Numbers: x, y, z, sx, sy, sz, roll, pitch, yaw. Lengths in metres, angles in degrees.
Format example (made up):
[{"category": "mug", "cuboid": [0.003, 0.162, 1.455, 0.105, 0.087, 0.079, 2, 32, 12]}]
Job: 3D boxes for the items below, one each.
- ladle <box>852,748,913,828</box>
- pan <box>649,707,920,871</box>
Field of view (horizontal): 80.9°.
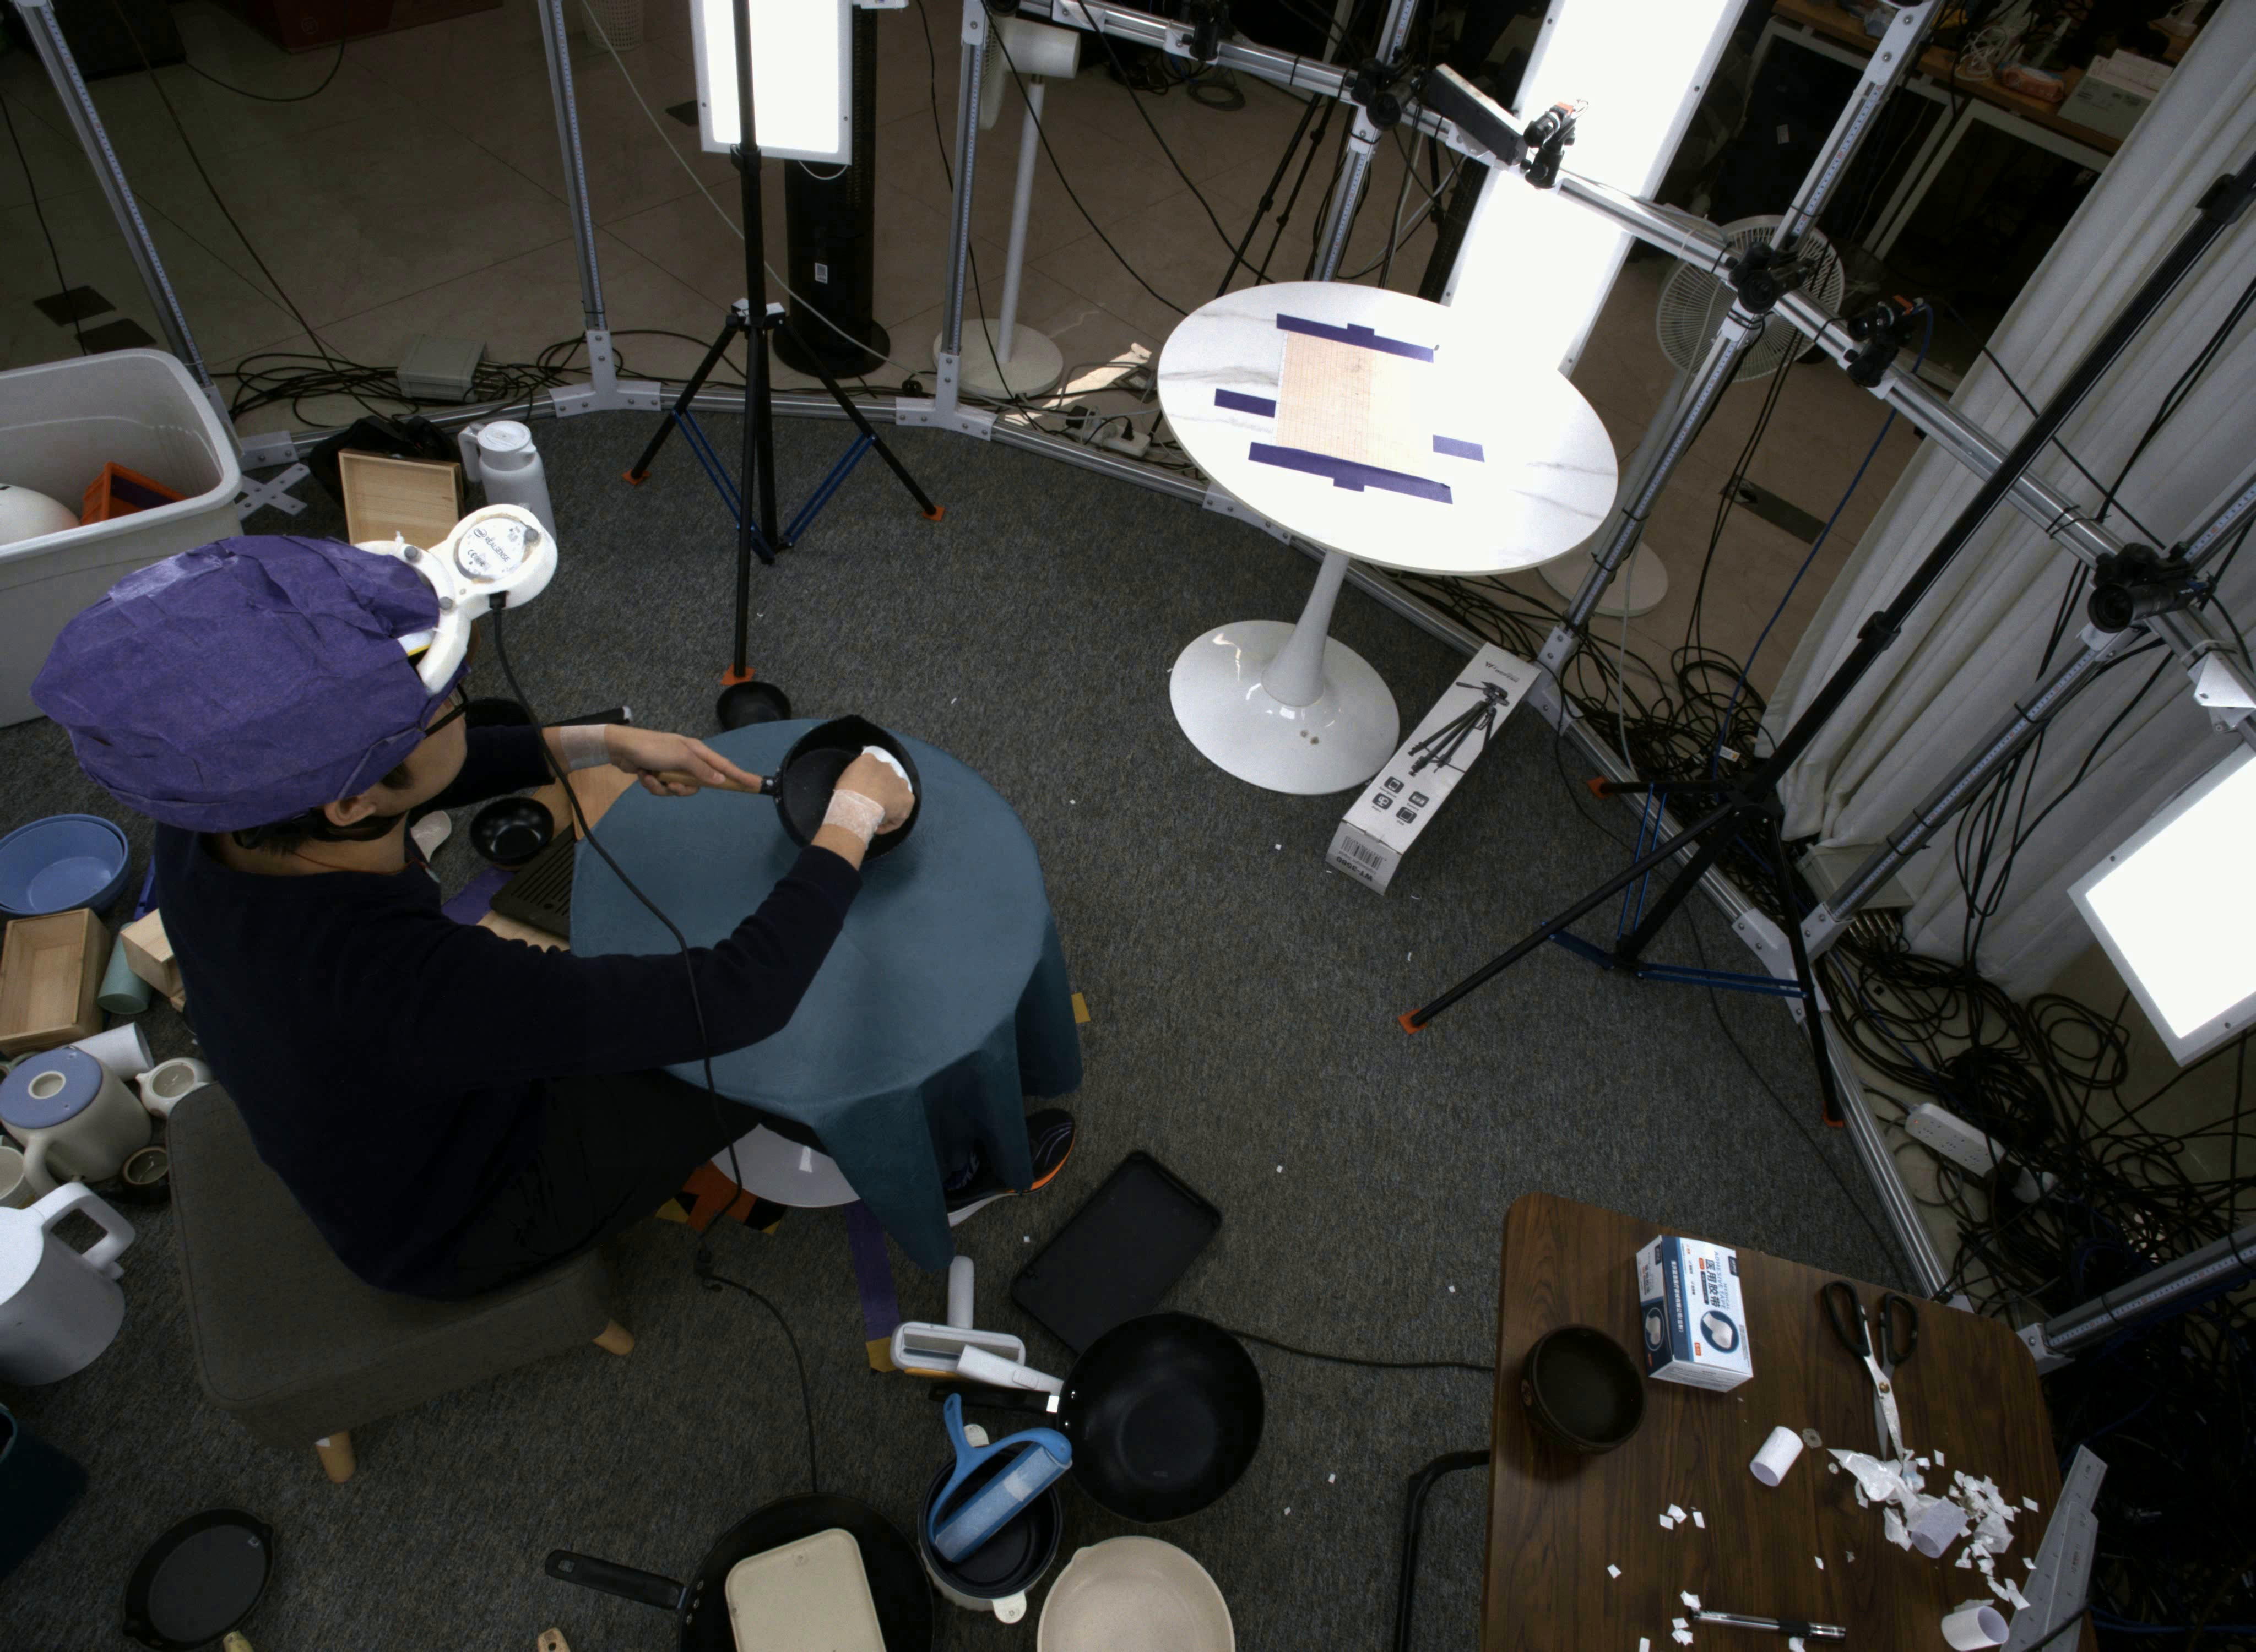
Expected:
[{"category": "ladle", "cuboid": [-0.295, -0.040, 1.559, 0.069, 0.287, 0.092, -29, 101, -6]}, {"category": "pan", "cuboid": [-0.431, -0.047, 1.611, 0.349, 0.106, 0.208, 4, 80, -34]}]
